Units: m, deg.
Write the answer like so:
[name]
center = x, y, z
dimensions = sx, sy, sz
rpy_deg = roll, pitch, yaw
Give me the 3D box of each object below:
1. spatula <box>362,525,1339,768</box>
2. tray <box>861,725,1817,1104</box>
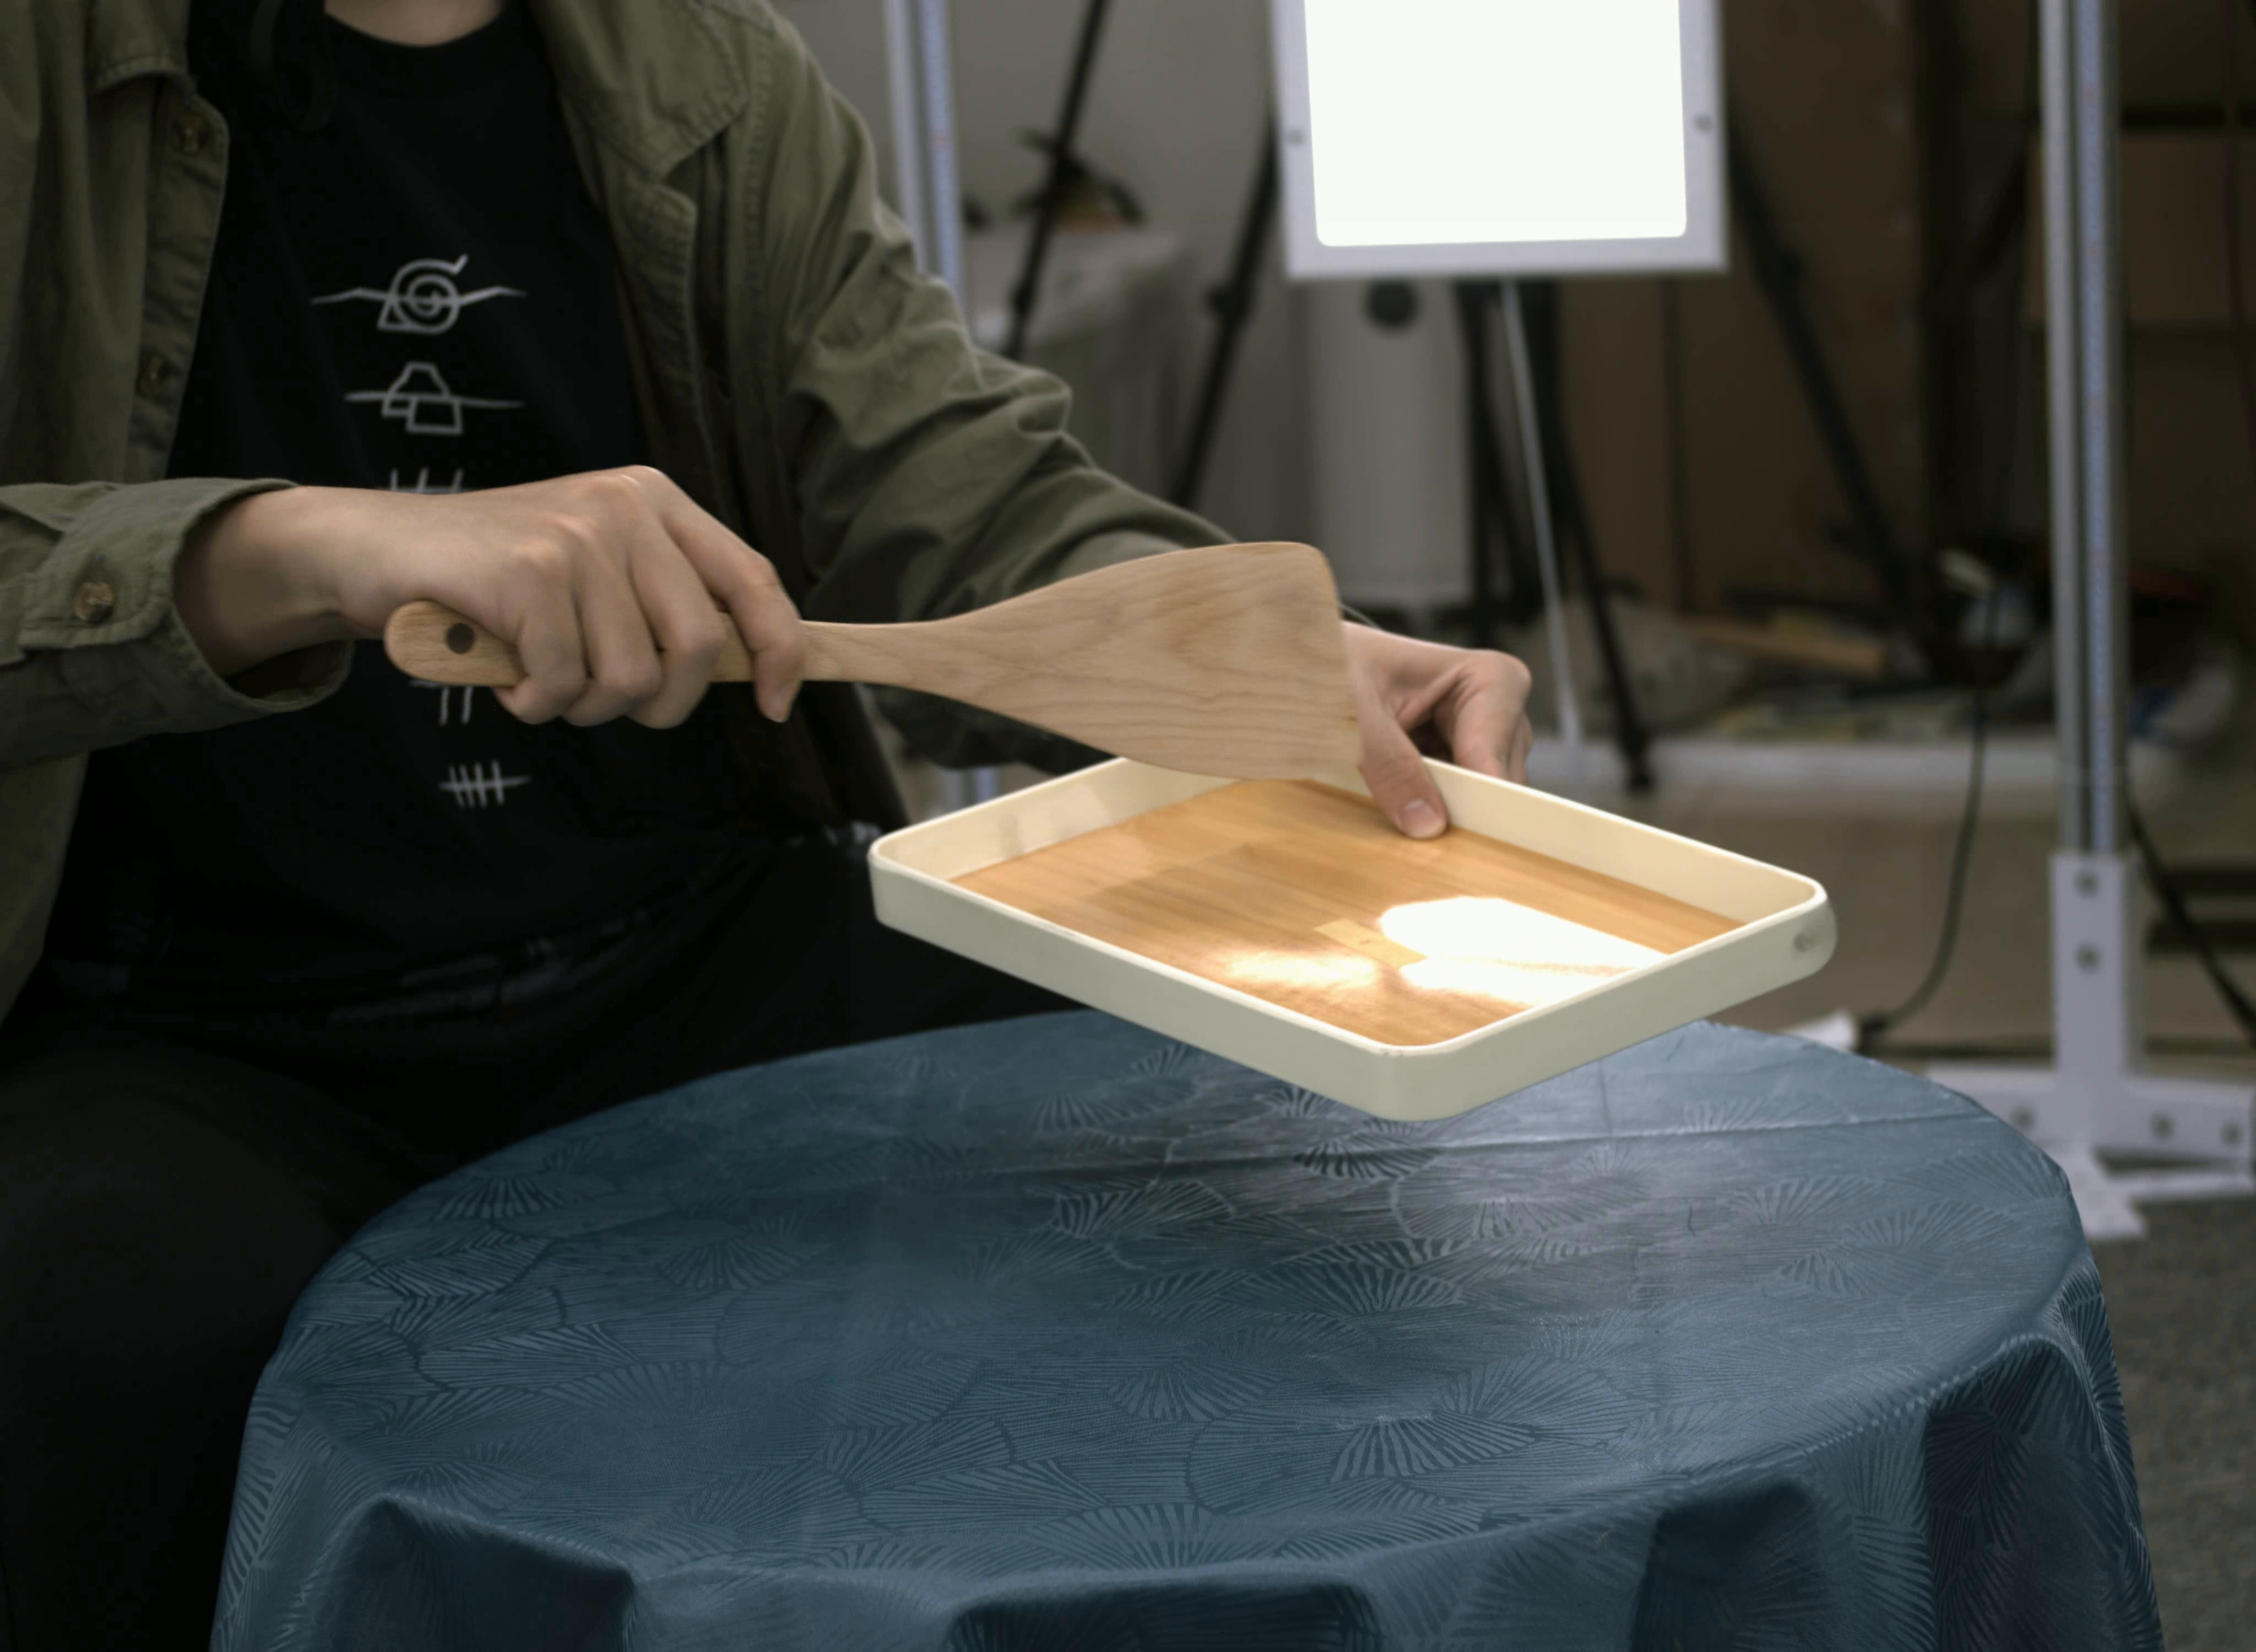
[spatula]
center = -0.085, -0.059, 1.768
dimensions = 0.322, 0.080, 0.017
rpy_deg = 0, -1, -19
[tray]
center = 0.066, 0.023, 1.839
dimensions = 0.187, 0.027, 0.306
rpy_deg = -18, 22, -32
